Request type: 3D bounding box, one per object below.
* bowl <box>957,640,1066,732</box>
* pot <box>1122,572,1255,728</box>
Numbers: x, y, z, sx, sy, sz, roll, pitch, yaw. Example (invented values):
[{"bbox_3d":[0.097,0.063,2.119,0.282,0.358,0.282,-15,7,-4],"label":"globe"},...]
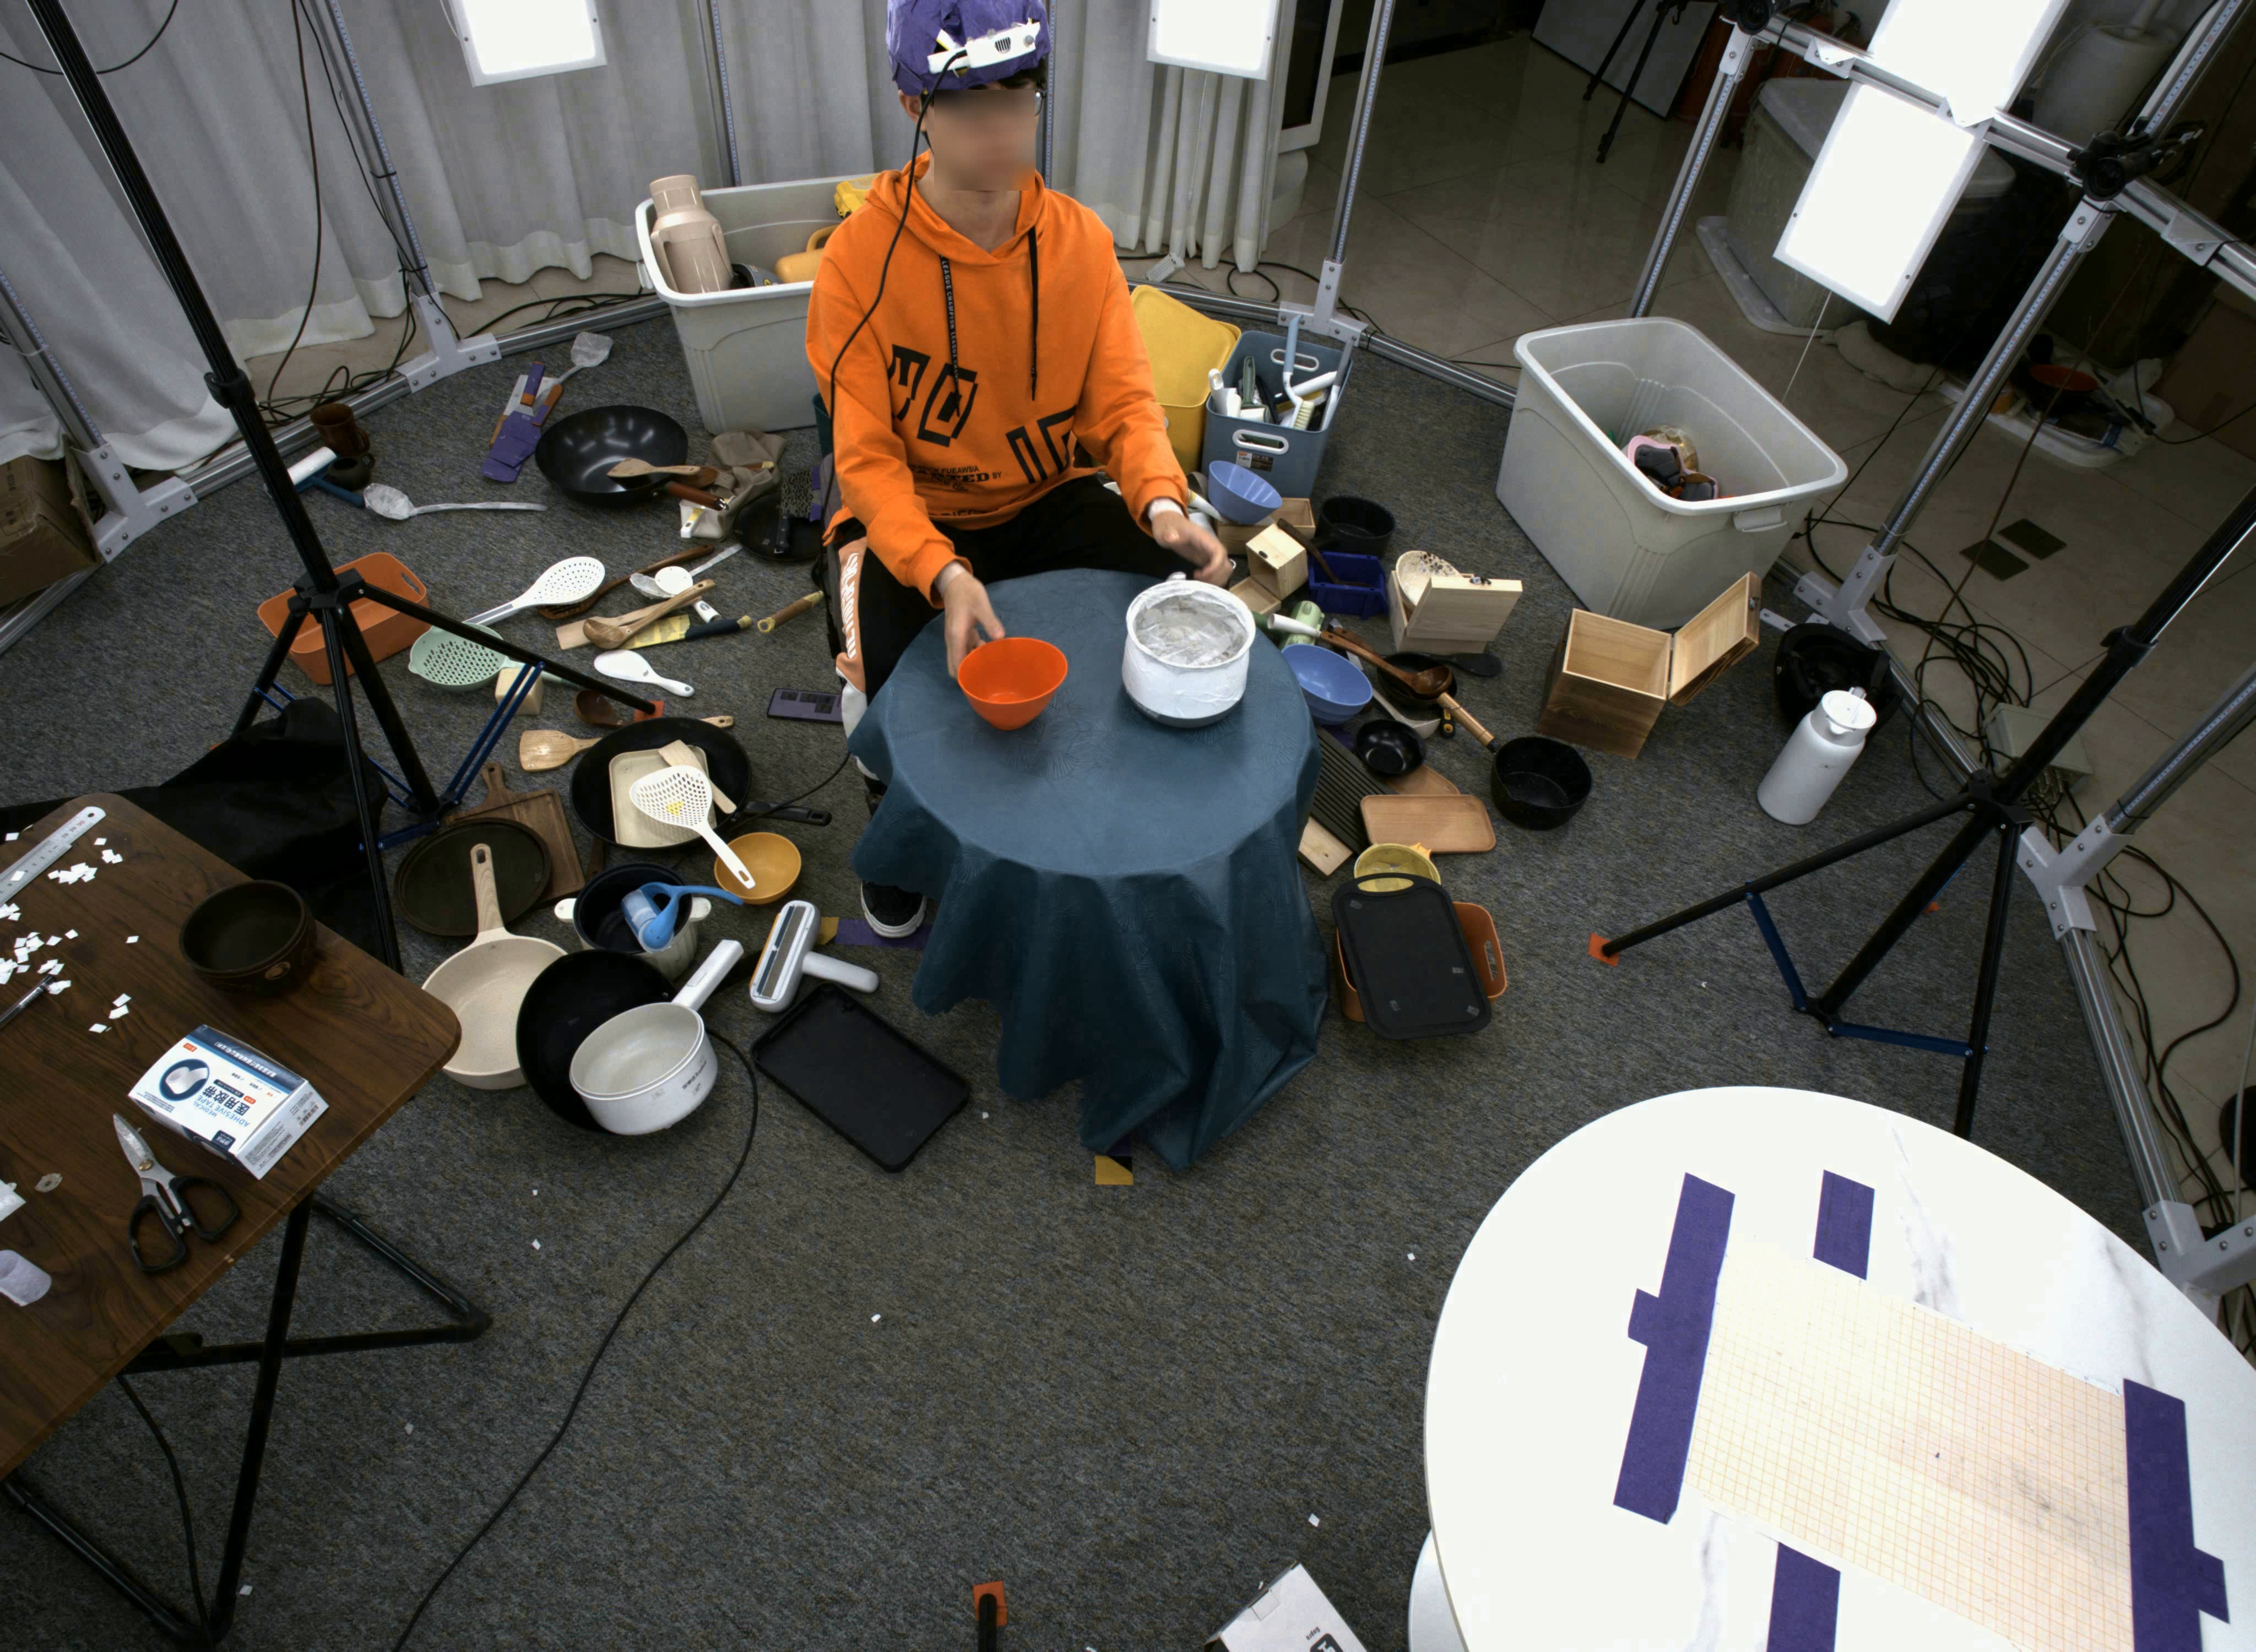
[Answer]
[{"bbox_3d":[-0.158,-0.181,1.754,0.148,0.102,0.152,2,48,-2],"label":"bowl"},{"bbox_3d":[0.077,-0.258,1.809,0.178,0.133,0.239,-5,50,-9],"label":"pot"}]
